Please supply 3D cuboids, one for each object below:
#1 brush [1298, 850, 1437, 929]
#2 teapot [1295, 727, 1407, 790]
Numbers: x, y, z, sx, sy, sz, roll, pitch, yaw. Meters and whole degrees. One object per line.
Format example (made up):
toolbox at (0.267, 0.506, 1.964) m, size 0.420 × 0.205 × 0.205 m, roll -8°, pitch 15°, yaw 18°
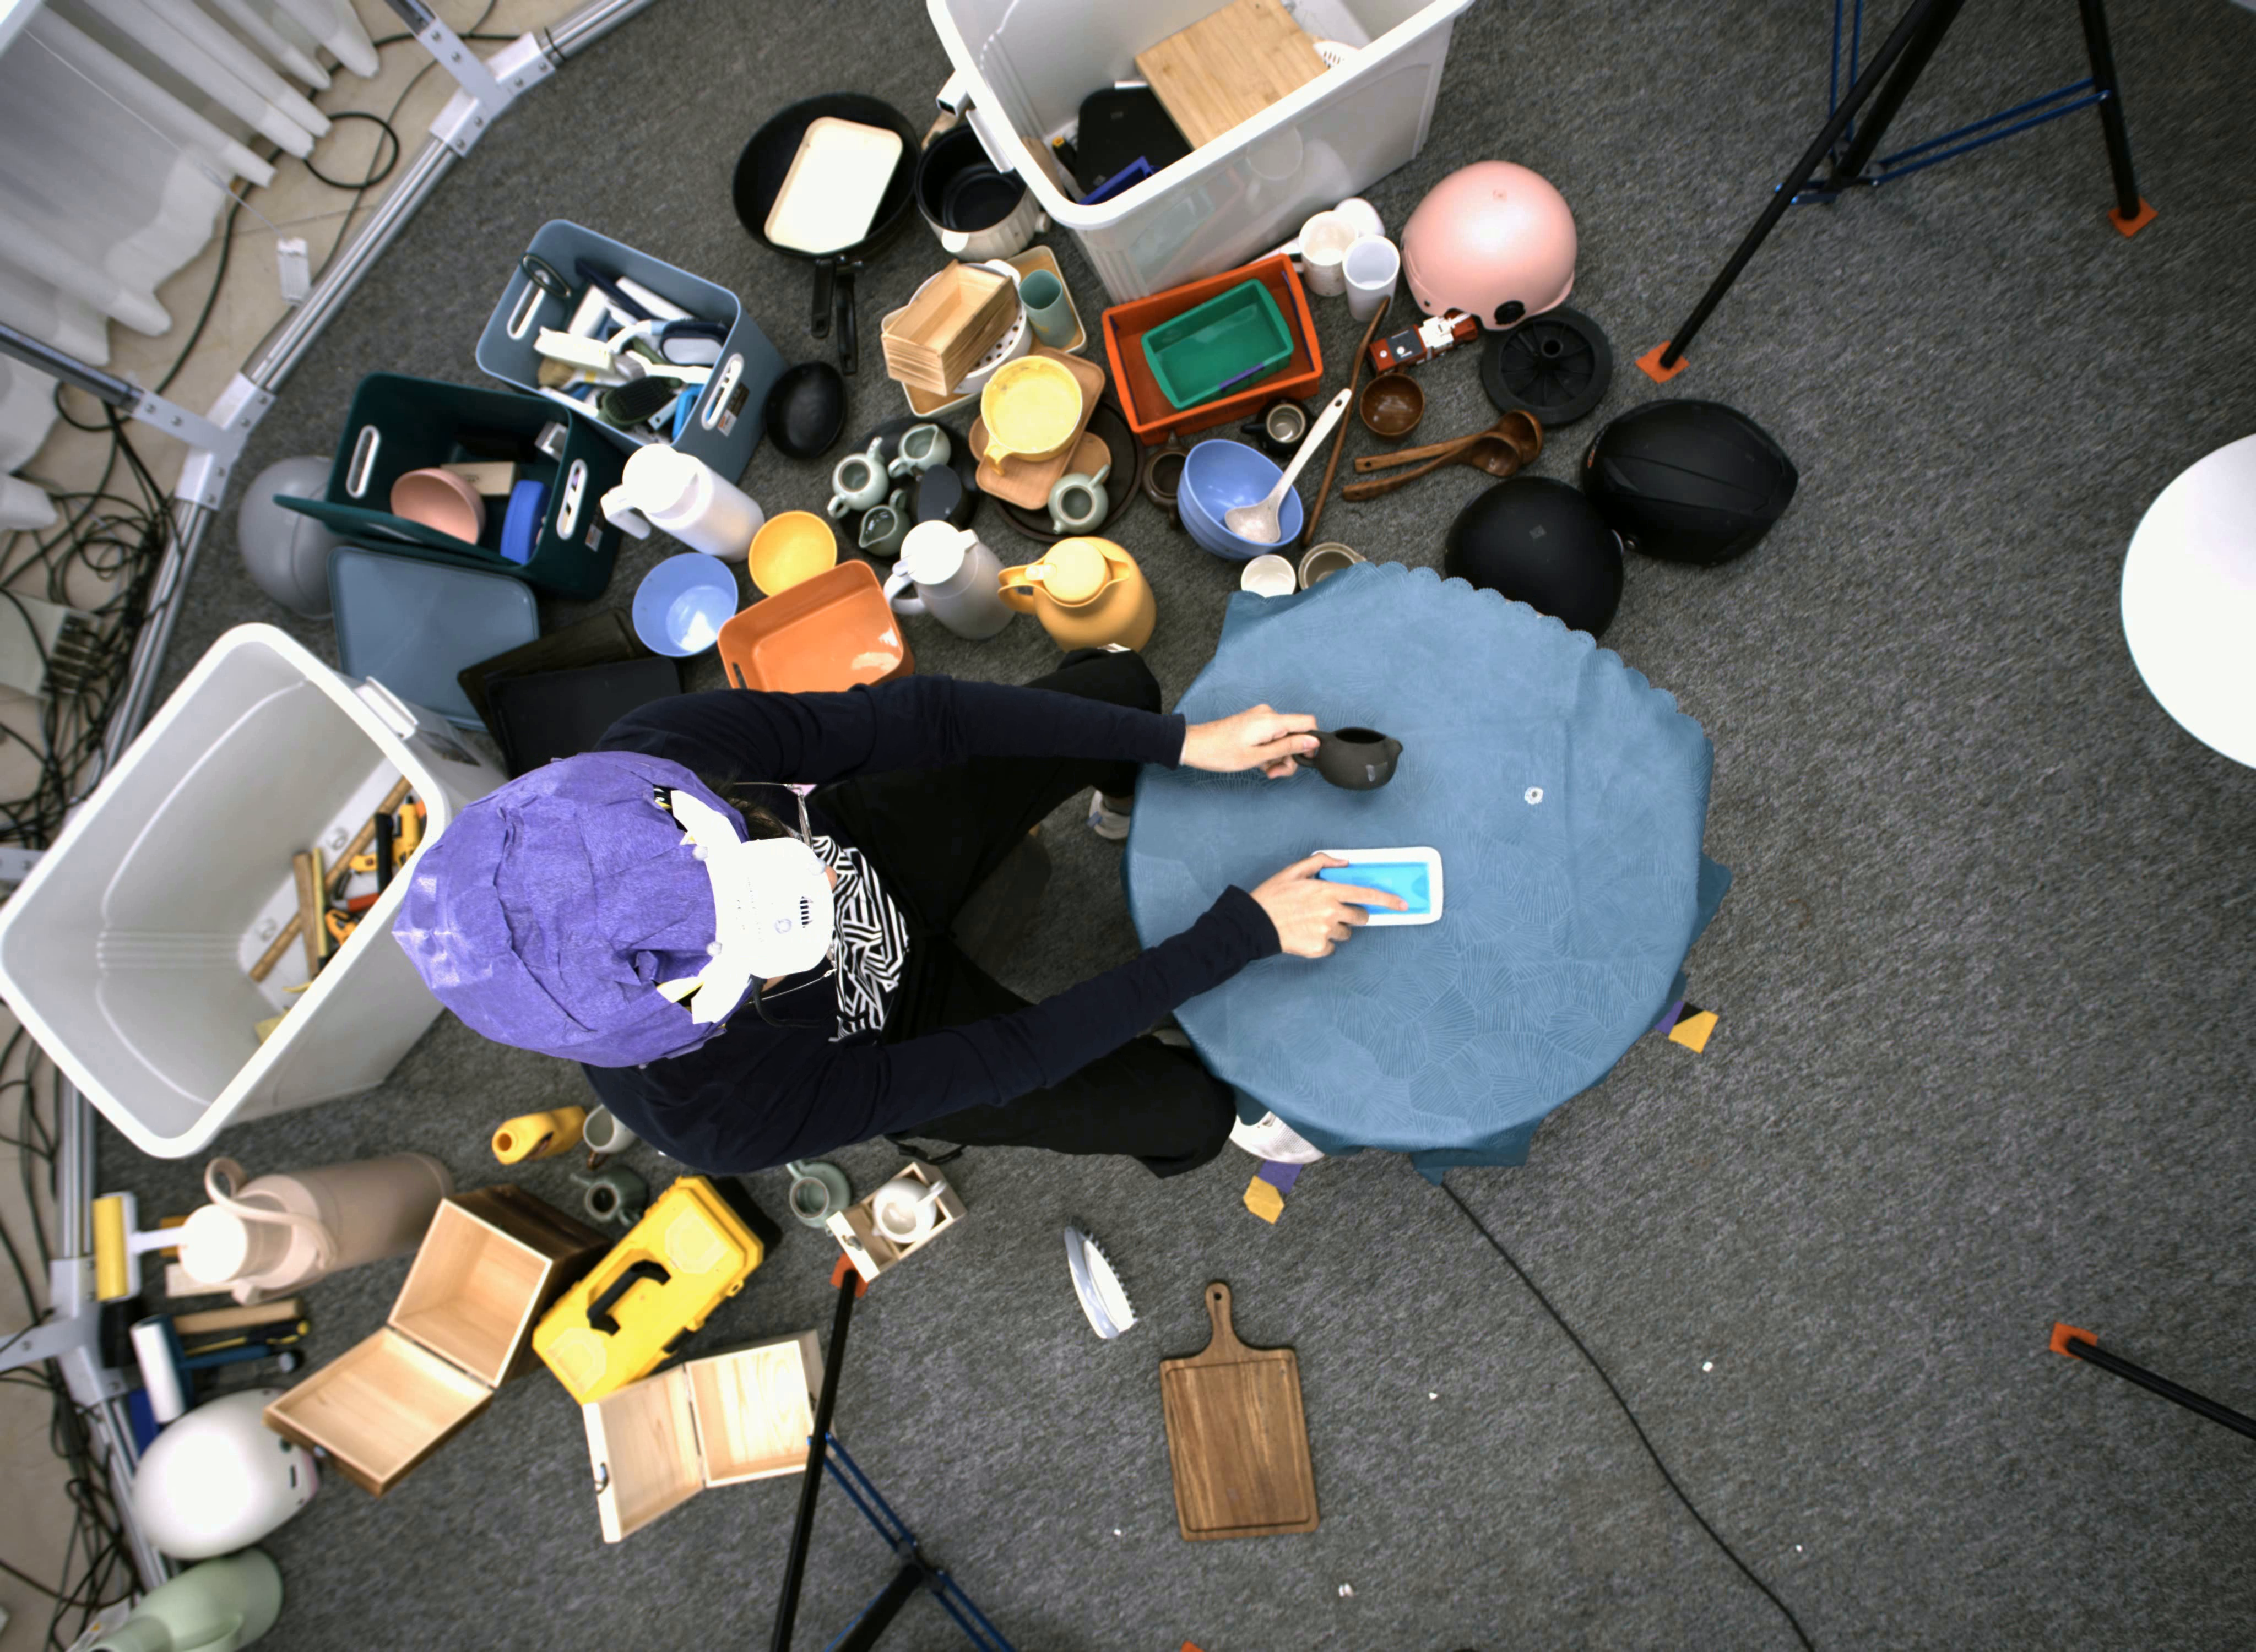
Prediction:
brush at (0.249, 0.063, 1.432) m, size 0.144 × 0.056 × 0.083 m, roll 0°, pitch 84°, yaw 7°
teapot at (0.226, -0.073, 1.414) m, size 0.114 × 0.081 × 0.054 m, roll 14°, pitch 116°, yaw 19°
